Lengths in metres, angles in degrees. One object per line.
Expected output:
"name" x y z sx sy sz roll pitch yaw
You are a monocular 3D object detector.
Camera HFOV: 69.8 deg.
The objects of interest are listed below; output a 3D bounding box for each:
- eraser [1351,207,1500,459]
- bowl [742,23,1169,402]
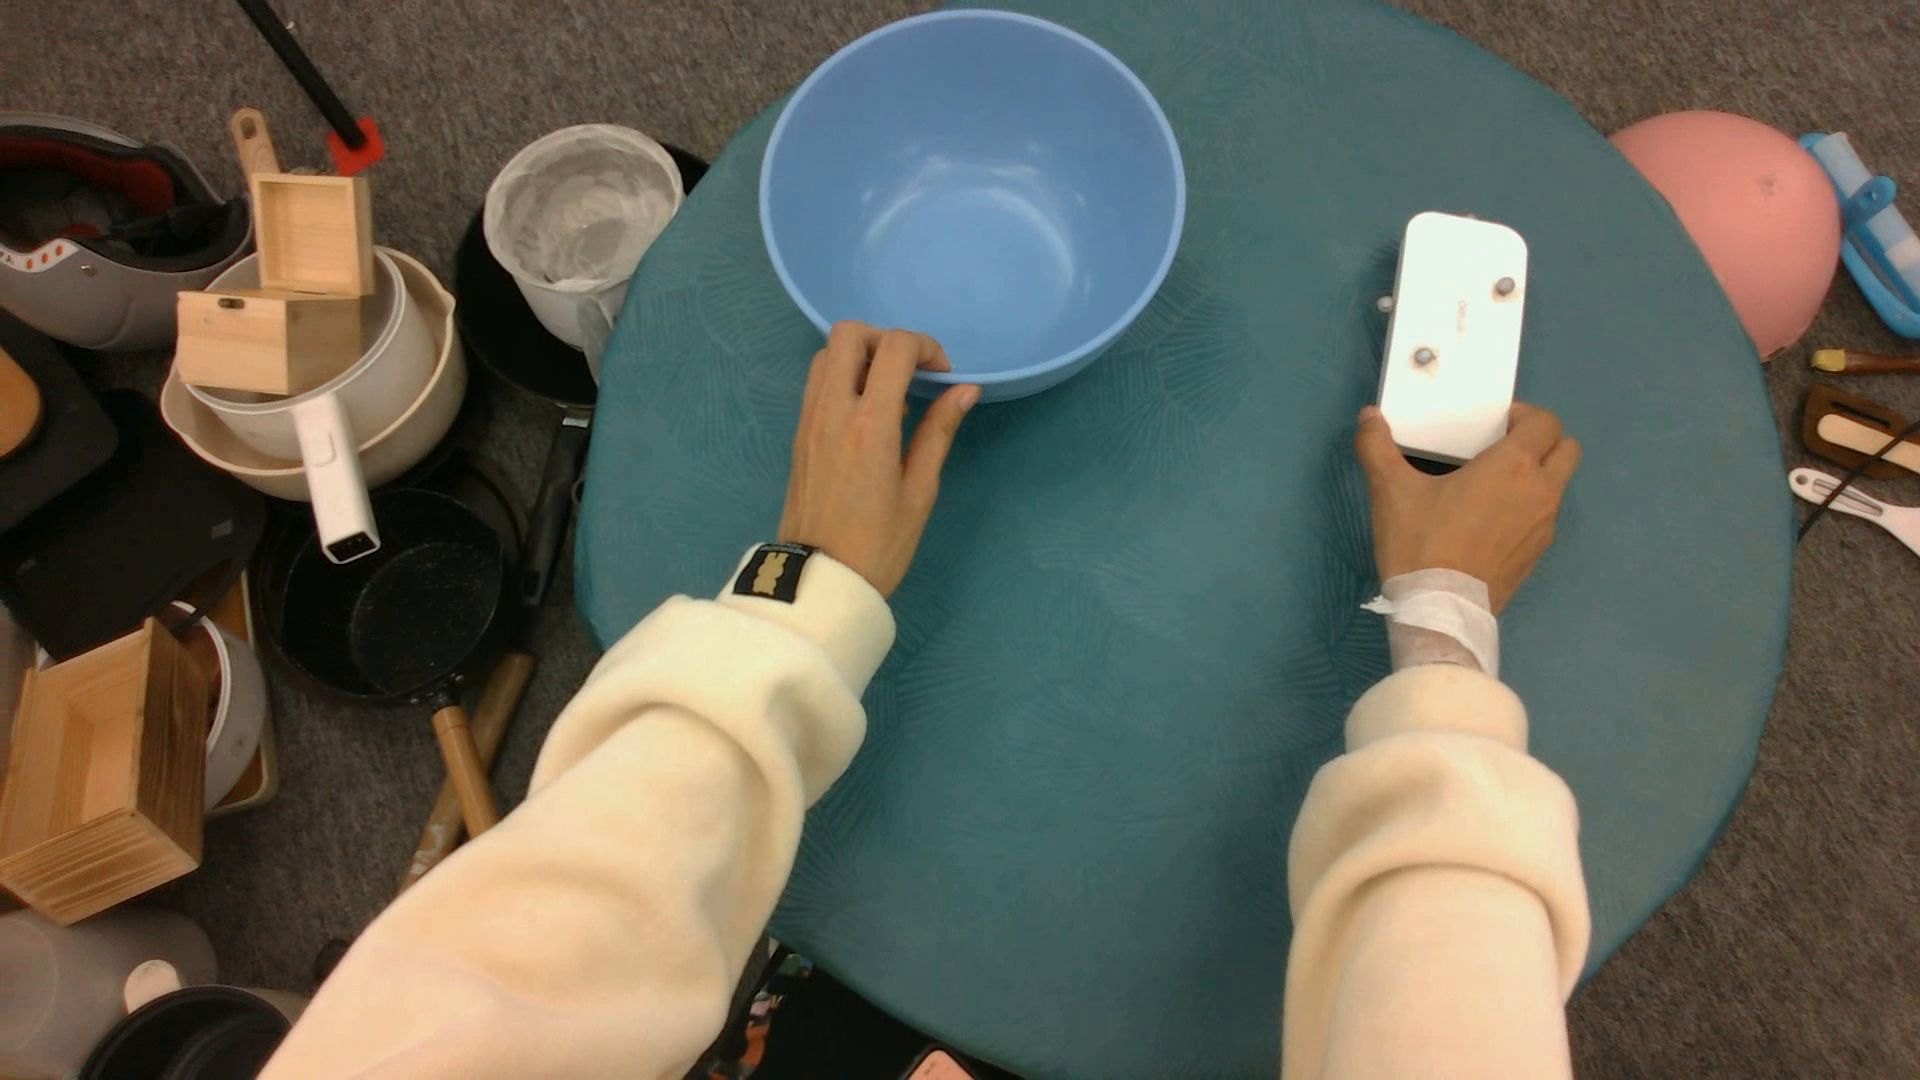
"eraser" 0.233 -0.106 0.694 0.063 0.034 0.131 12 72 2
"bowl" -0.004 -0.144 0.674 0.196 0.095 0.197 1 67 -3
